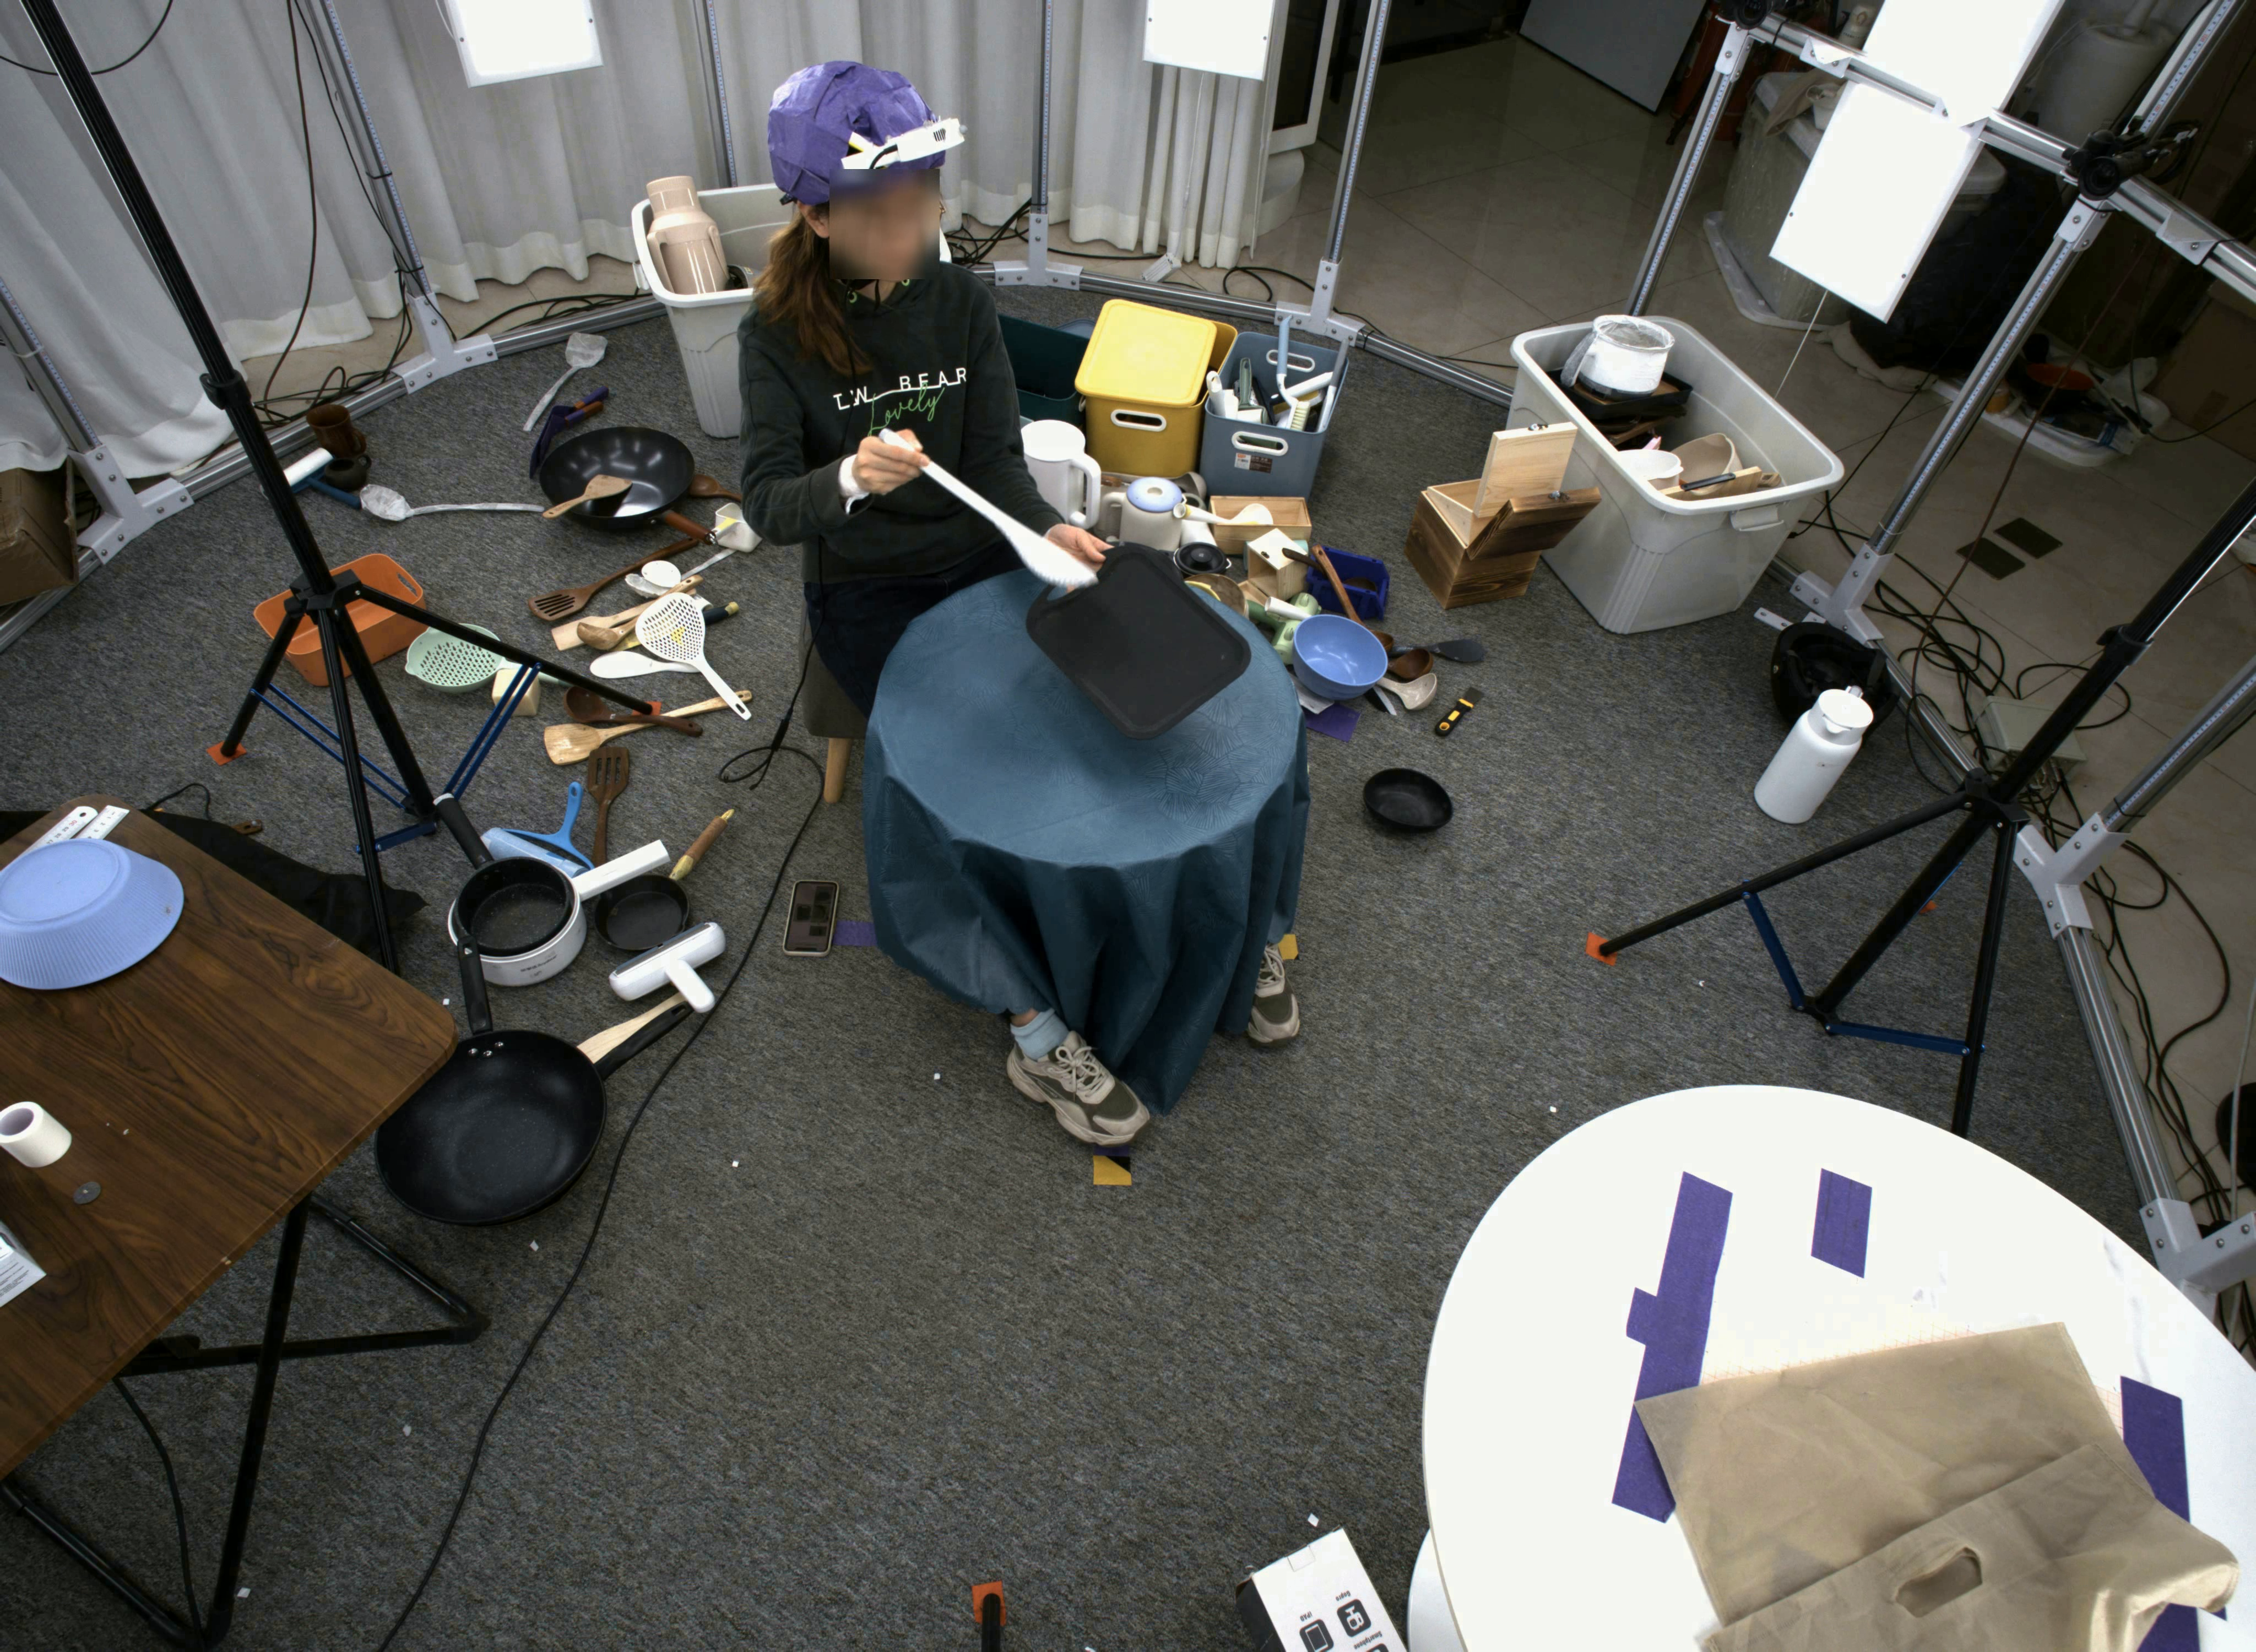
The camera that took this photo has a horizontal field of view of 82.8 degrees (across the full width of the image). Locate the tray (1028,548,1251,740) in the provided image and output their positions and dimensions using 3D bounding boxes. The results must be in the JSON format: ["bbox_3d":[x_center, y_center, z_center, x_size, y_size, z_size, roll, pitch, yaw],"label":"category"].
[{"bbox_3d":[0.005,-0.260,1.757,0.212,0.009,0.332,-36,57,-8],"label":"tray"}]

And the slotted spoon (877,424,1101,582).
[{"bbox_3d":[-0.172,-0.406,1.652,0.046,0.343,0.138,-55,38,1],"label":"slotted spoon"}]
